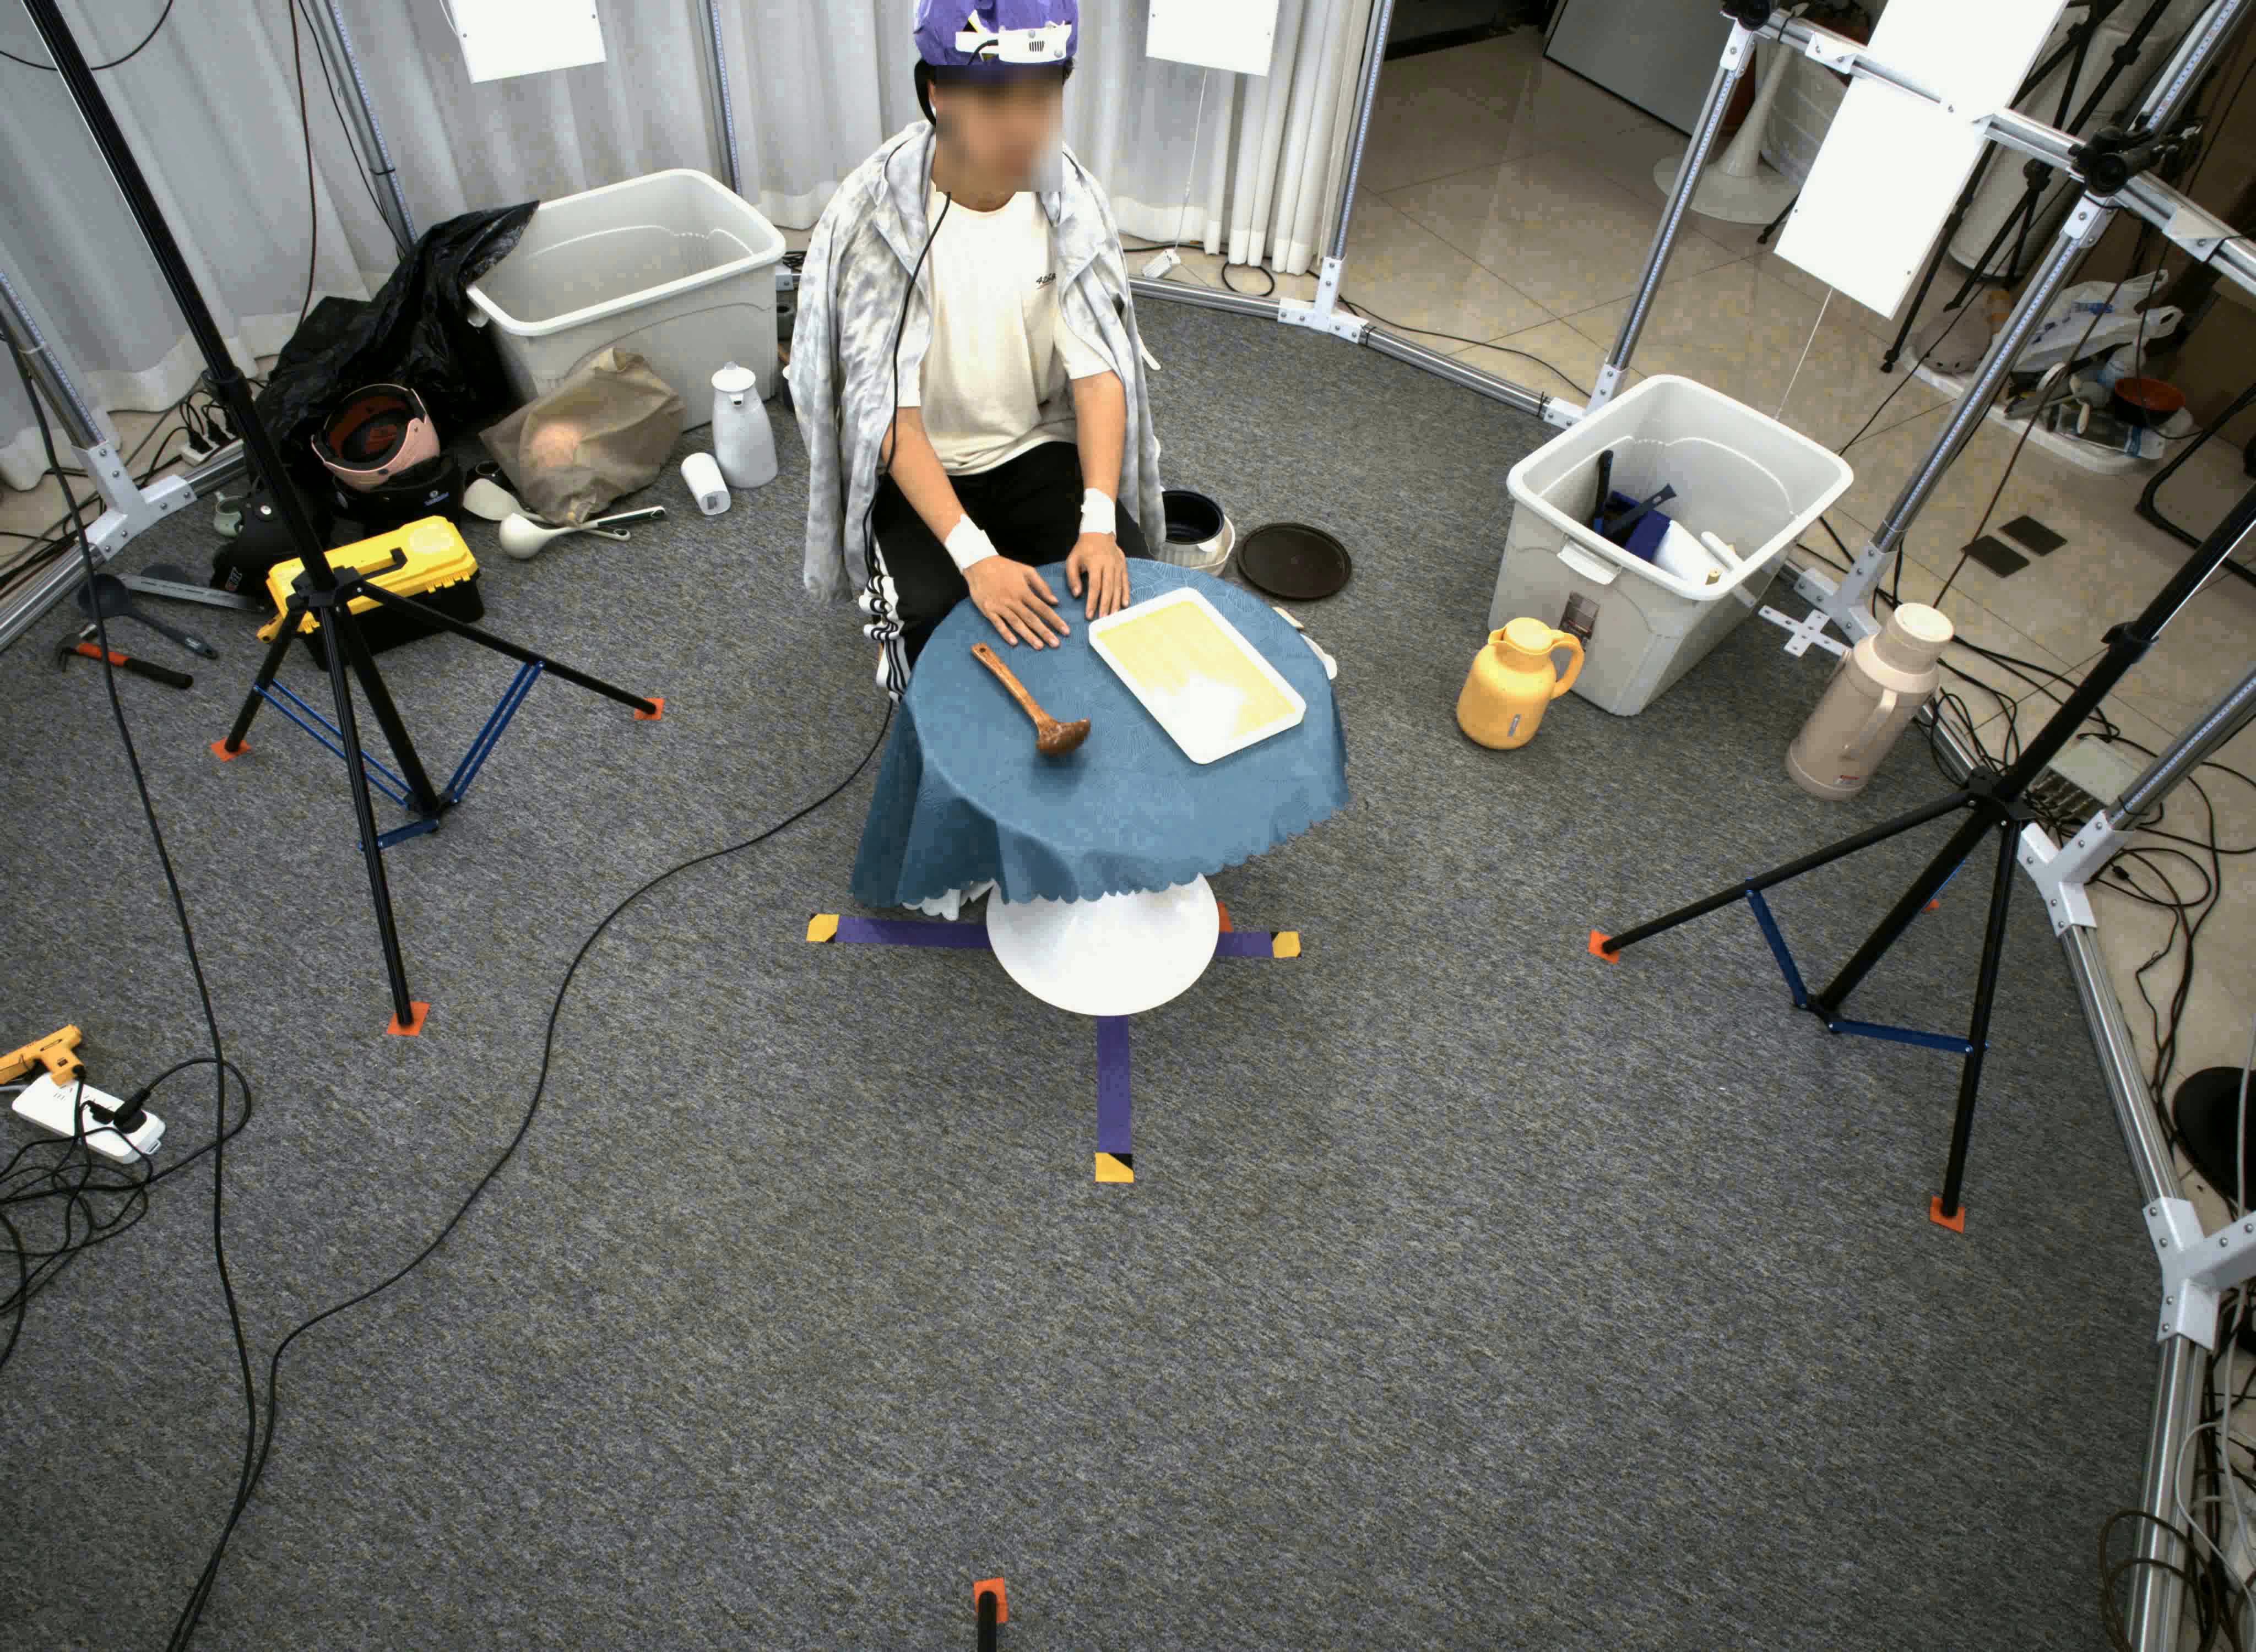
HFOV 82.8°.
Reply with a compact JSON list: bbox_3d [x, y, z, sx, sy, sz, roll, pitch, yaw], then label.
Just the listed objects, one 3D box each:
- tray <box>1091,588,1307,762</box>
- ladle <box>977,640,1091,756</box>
[{"bbox_3d":[0.097,-0.223,1.843,0.192,0.027,0.306,-23,54,-22],"label":"tray"},{"bbox_3d":[-0.143,-0.191,1.767,0.082,0.075,0.280,-25,55,-19],"label":"ladle"}]
